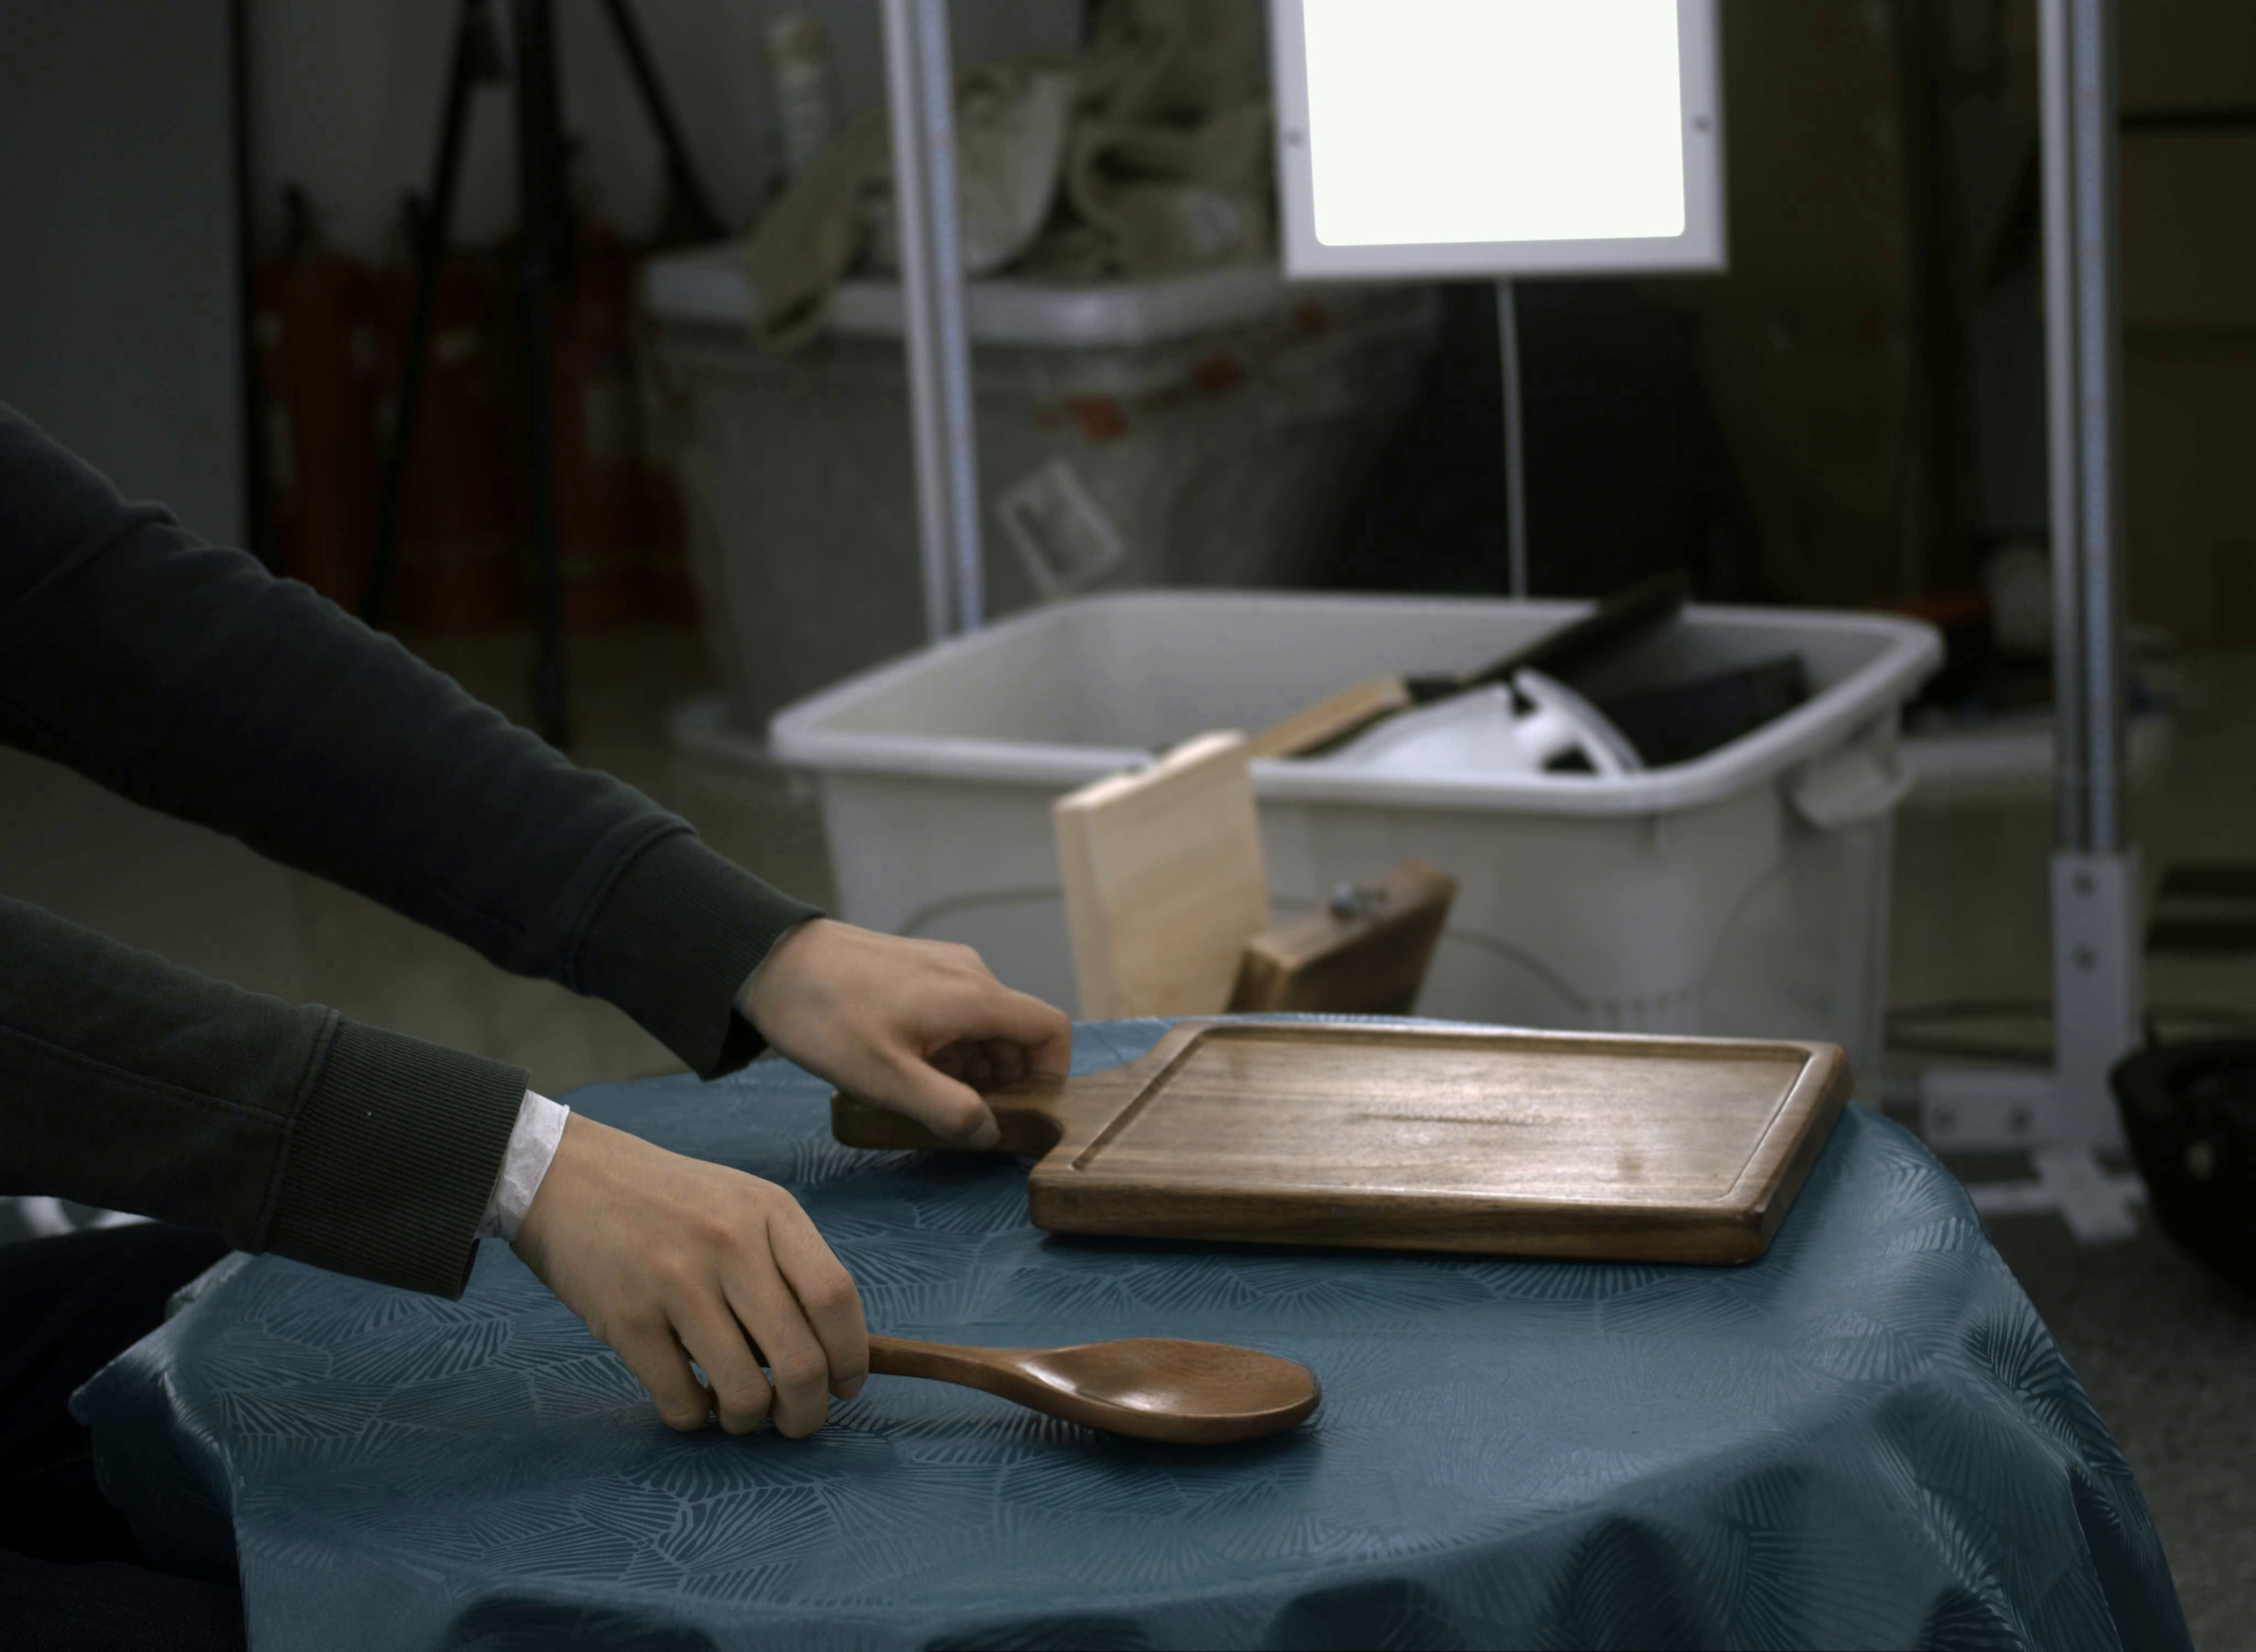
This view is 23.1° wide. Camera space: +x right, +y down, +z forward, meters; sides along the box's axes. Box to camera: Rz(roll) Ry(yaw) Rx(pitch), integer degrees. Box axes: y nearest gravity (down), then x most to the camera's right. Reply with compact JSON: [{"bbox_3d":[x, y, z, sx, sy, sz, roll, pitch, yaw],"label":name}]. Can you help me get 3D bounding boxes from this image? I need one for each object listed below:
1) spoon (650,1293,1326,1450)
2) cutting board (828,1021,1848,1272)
[{"bbox_3d":[-0.044,0.165,1.683,0.218,0.017,0.074,7,17,18],"label":"spoon"},{"bbox_3d":[0.064,0.106,1.904,0.356,0.023,0.198,1,16,19],"label":"cutting board"}]
